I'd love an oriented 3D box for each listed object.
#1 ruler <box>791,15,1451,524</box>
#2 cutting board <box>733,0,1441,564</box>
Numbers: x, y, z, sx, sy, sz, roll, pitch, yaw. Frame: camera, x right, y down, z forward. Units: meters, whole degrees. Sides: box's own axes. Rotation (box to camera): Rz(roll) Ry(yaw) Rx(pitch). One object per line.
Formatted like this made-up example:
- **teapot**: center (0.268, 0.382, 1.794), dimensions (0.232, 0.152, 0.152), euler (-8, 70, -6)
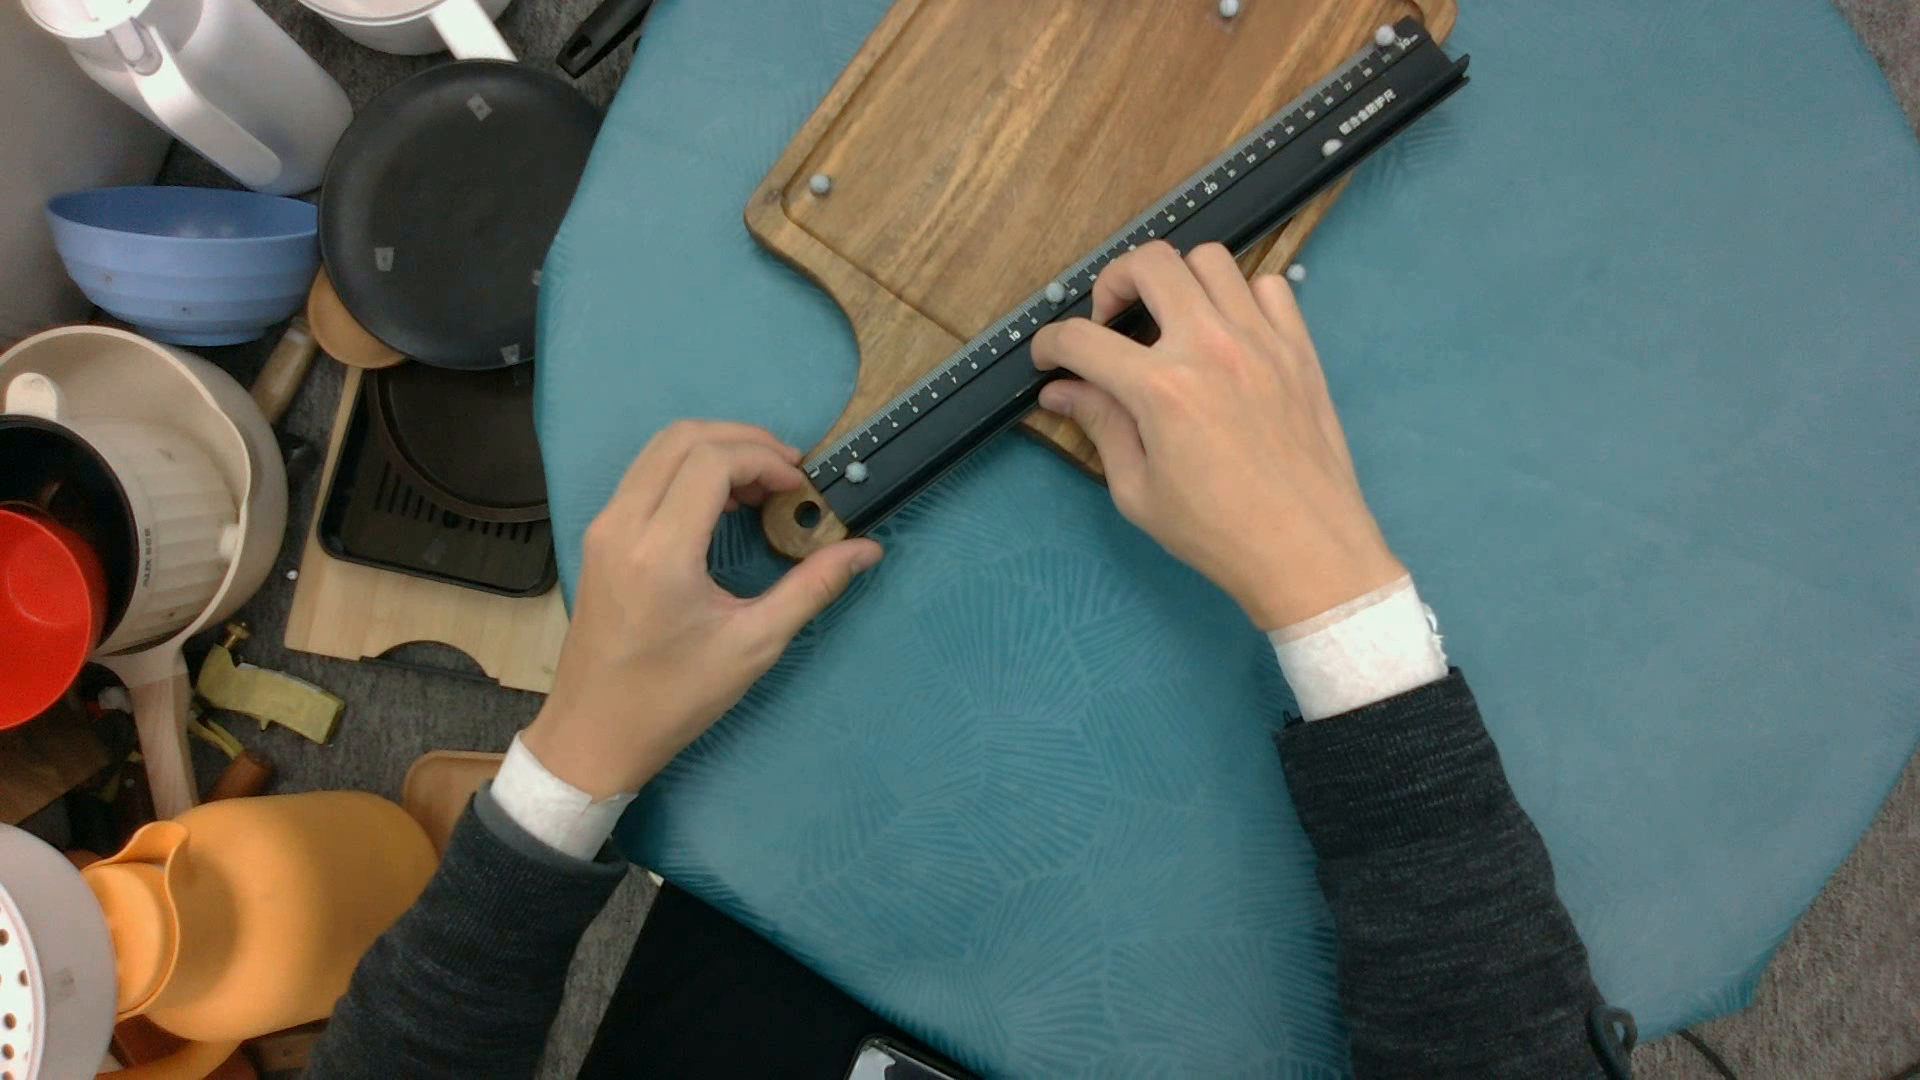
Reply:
- **ruler**: center (0.067, -0.114, 0.551), dimensions (0.313, 0.017, 0.039), euler (-37, 81, -4)
- **cutting board**: center (0.026, -0.139, 0.571), dimensions (0.201, 0.023, 0.352), euler (35, 84, 4)
